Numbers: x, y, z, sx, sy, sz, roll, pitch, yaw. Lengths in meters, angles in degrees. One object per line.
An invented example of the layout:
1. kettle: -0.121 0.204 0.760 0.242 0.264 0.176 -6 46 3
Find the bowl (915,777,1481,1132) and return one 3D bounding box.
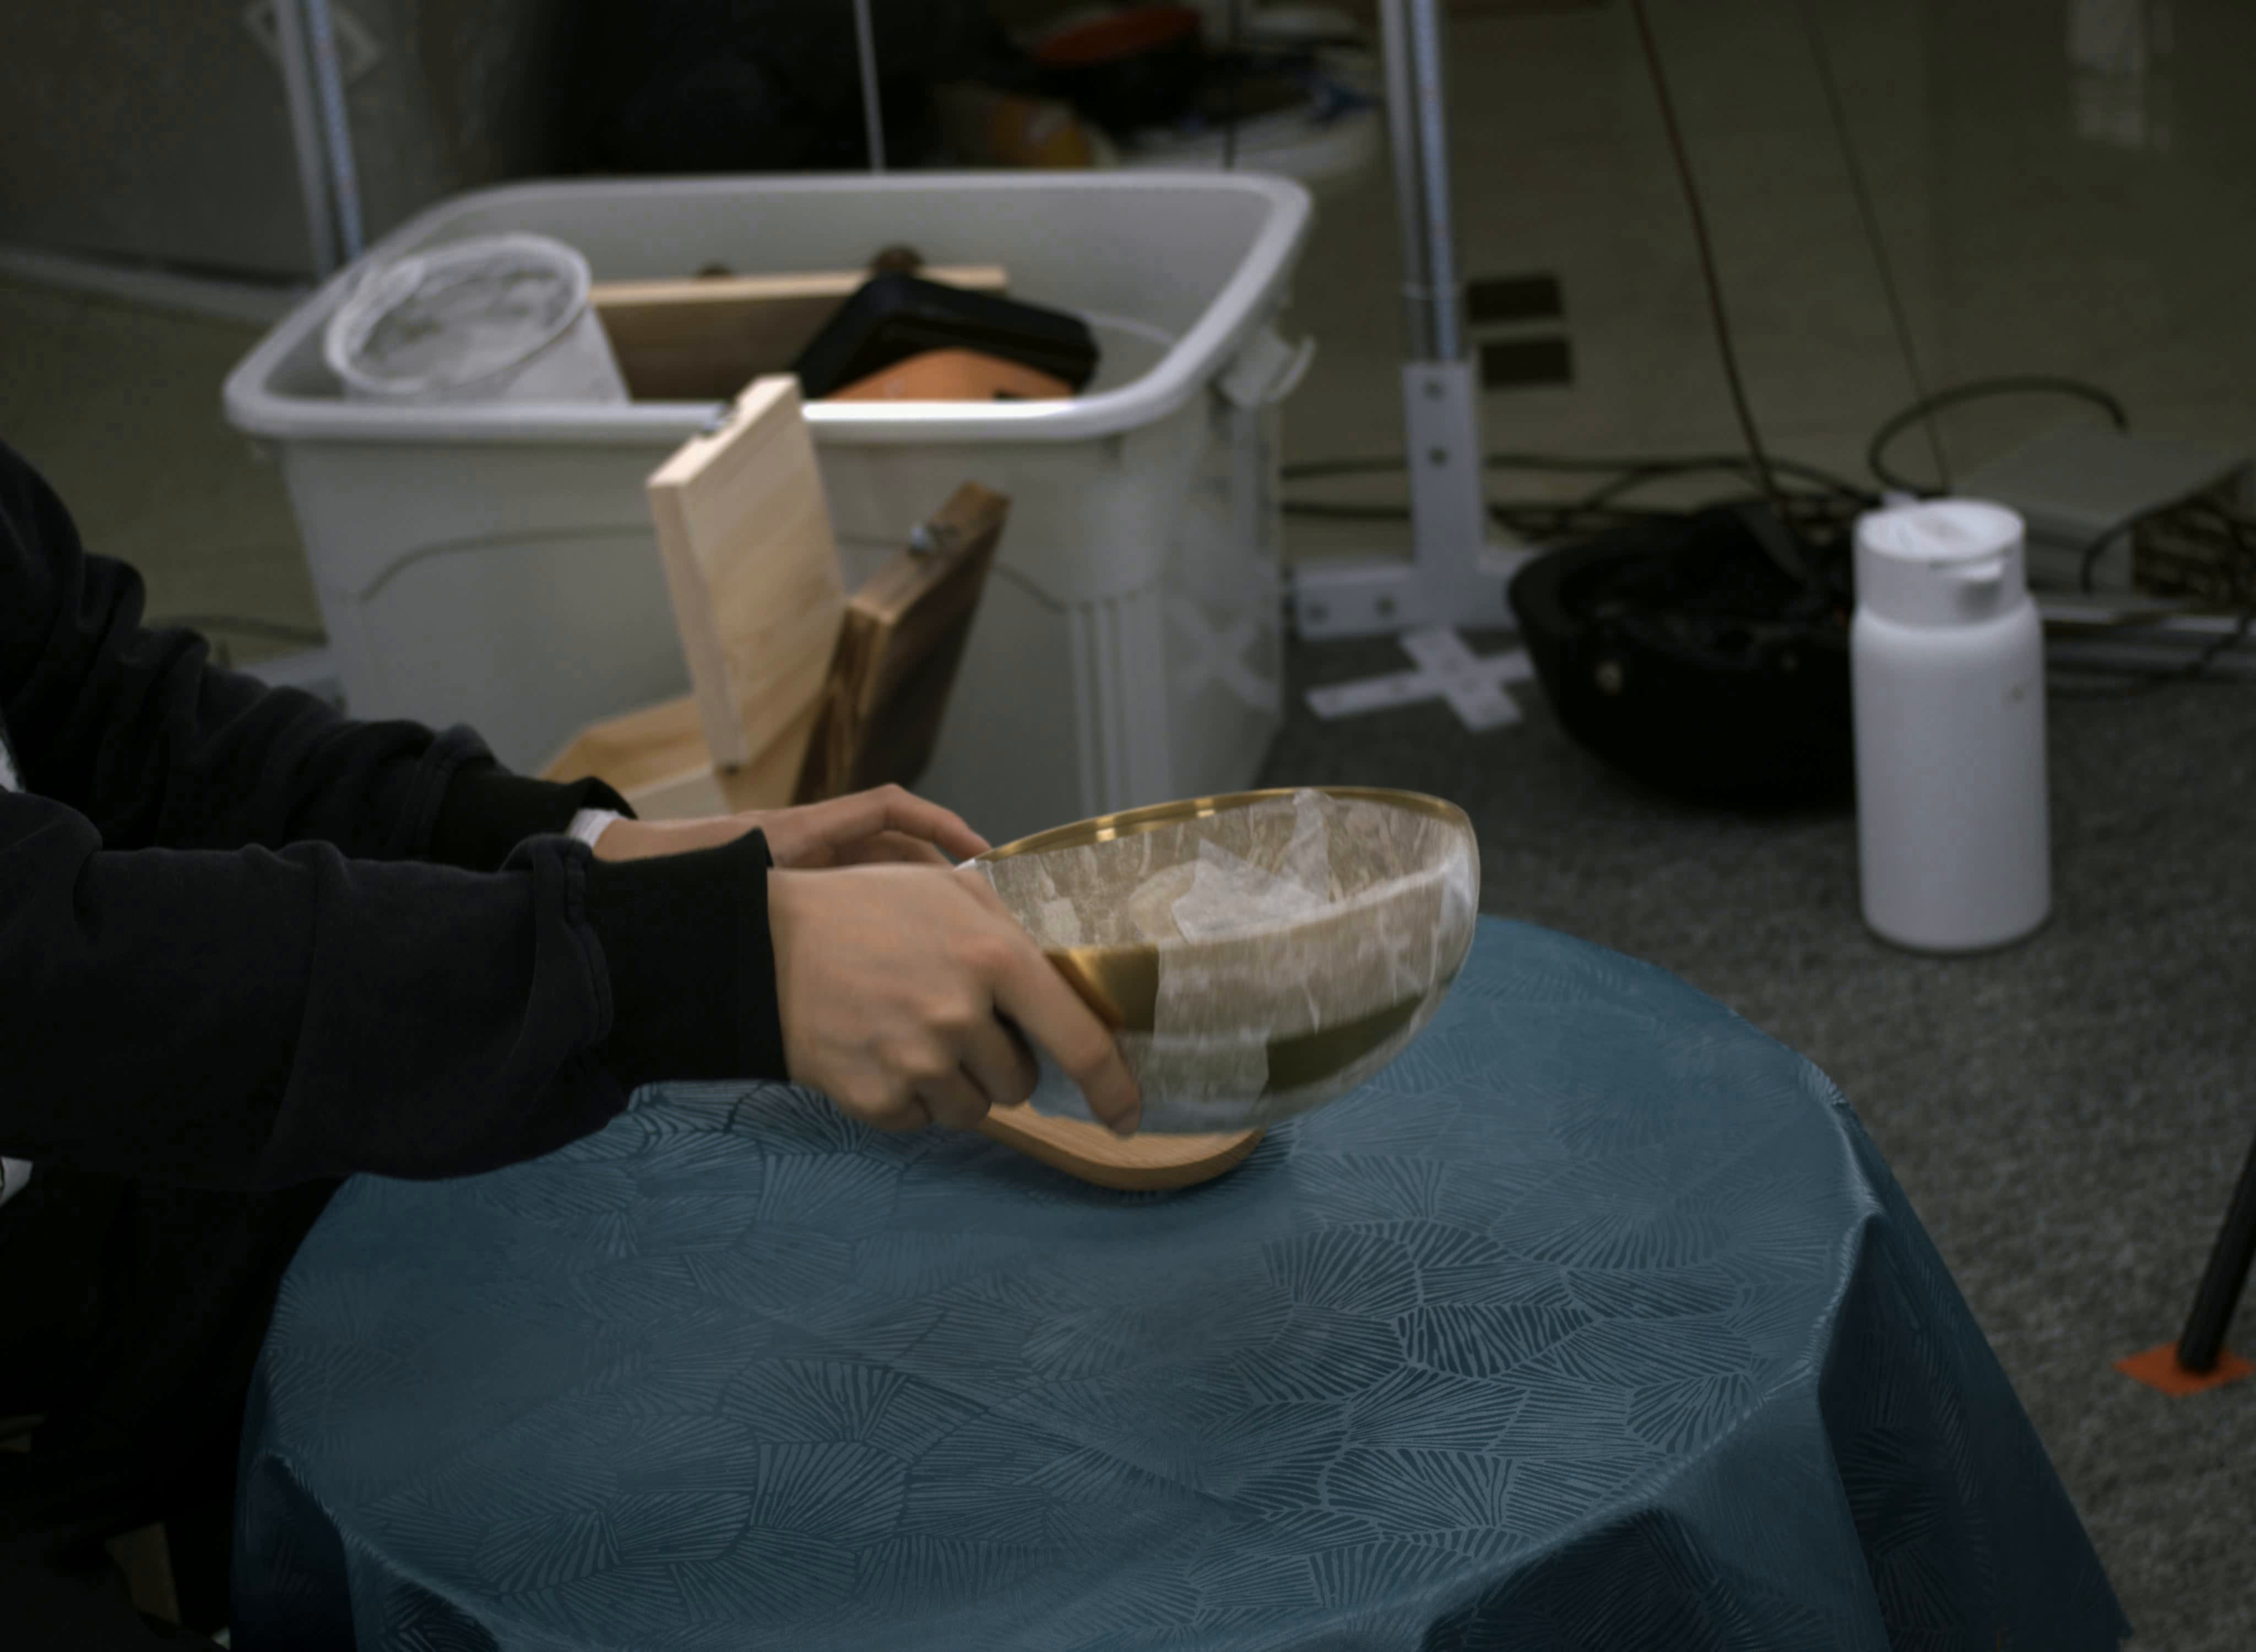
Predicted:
1. bowl: 0.029 0.053 2.011 0.214 0.095 0.212 -9 14 3

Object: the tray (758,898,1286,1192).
1. tray: -0.043 0.084 2.211 0.229 0.021 0.100 23 43 27
